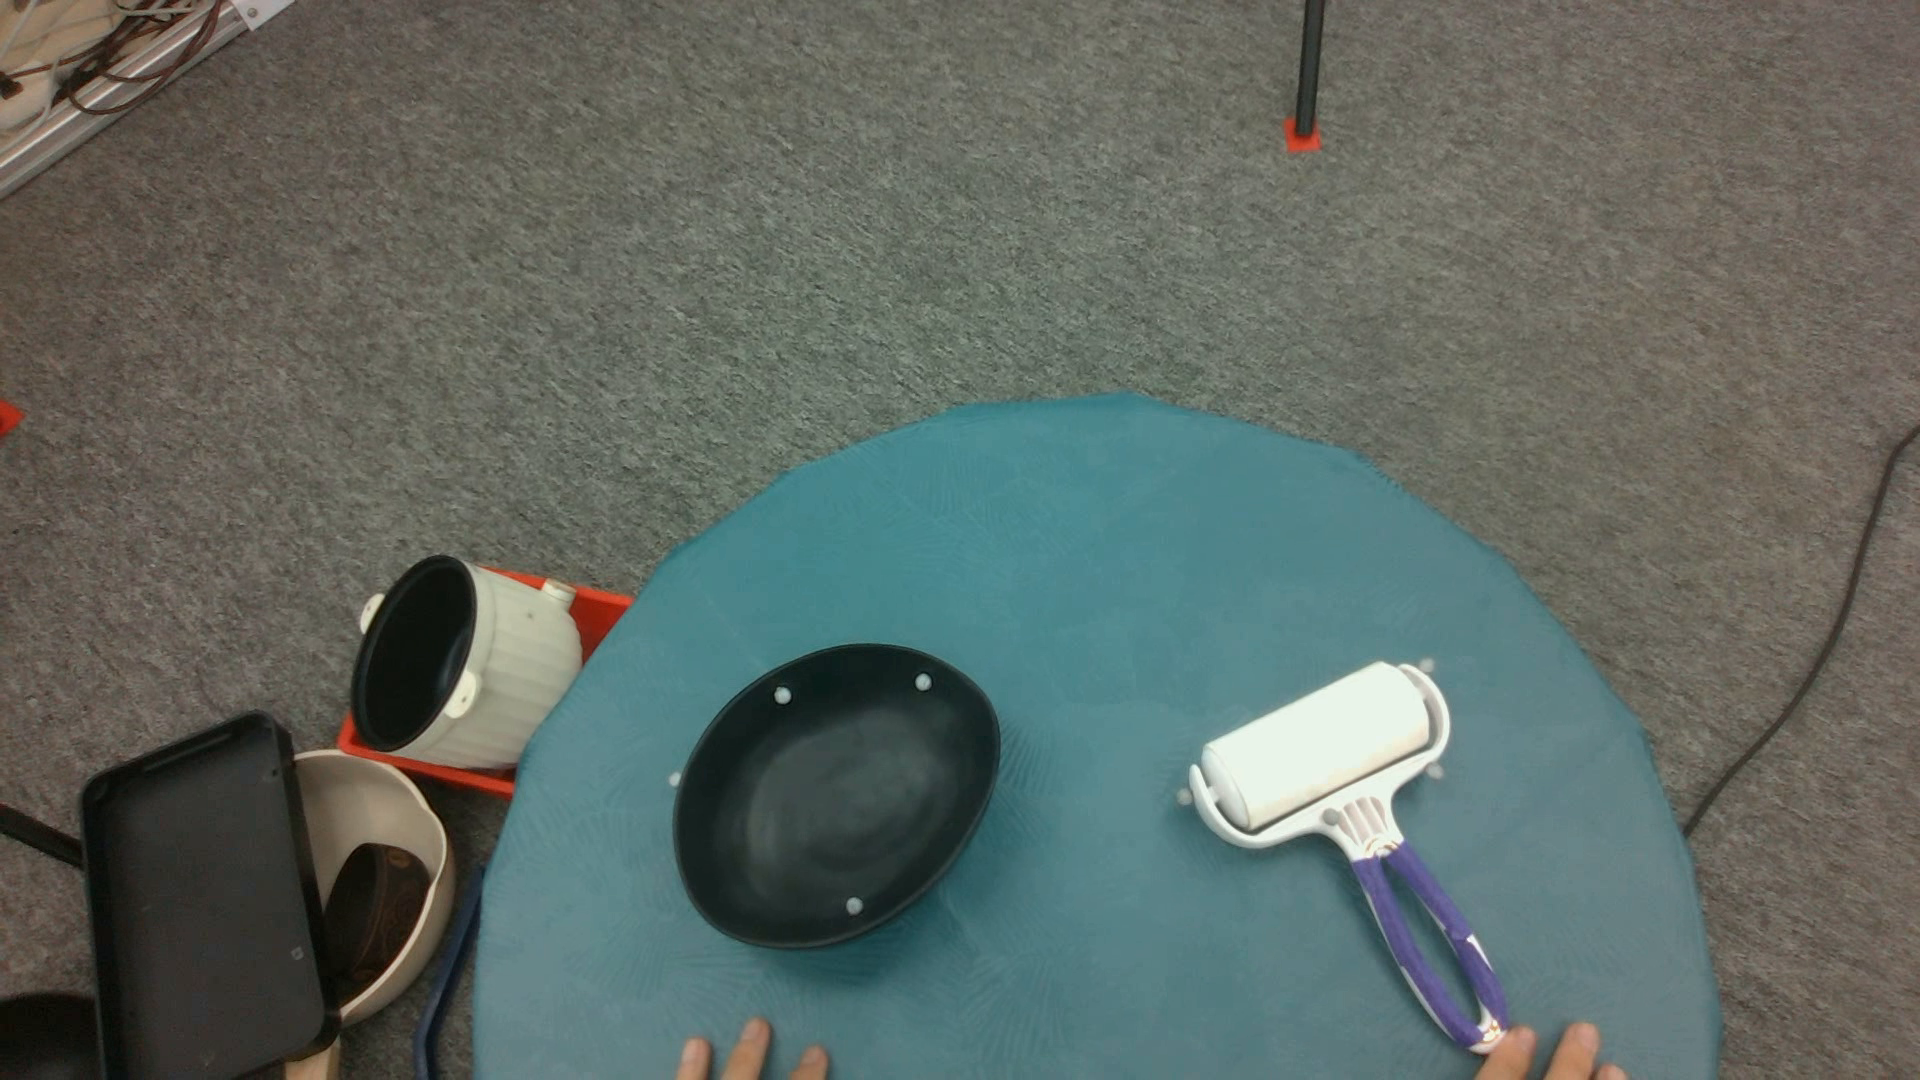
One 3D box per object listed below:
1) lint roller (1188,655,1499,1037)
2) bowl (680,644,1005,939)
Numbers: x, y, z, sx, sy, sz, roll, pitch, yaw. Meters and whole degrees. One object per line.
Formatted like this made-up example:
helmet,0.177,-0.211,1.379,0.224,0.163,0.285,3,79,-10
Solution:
lint roller,0.202,0.152,0.666,0.133,0.050,0.181,-22,60,-7
bowl,-0.056,0.129,0.695,0.171,0.066,0.137,-37,66,-16
